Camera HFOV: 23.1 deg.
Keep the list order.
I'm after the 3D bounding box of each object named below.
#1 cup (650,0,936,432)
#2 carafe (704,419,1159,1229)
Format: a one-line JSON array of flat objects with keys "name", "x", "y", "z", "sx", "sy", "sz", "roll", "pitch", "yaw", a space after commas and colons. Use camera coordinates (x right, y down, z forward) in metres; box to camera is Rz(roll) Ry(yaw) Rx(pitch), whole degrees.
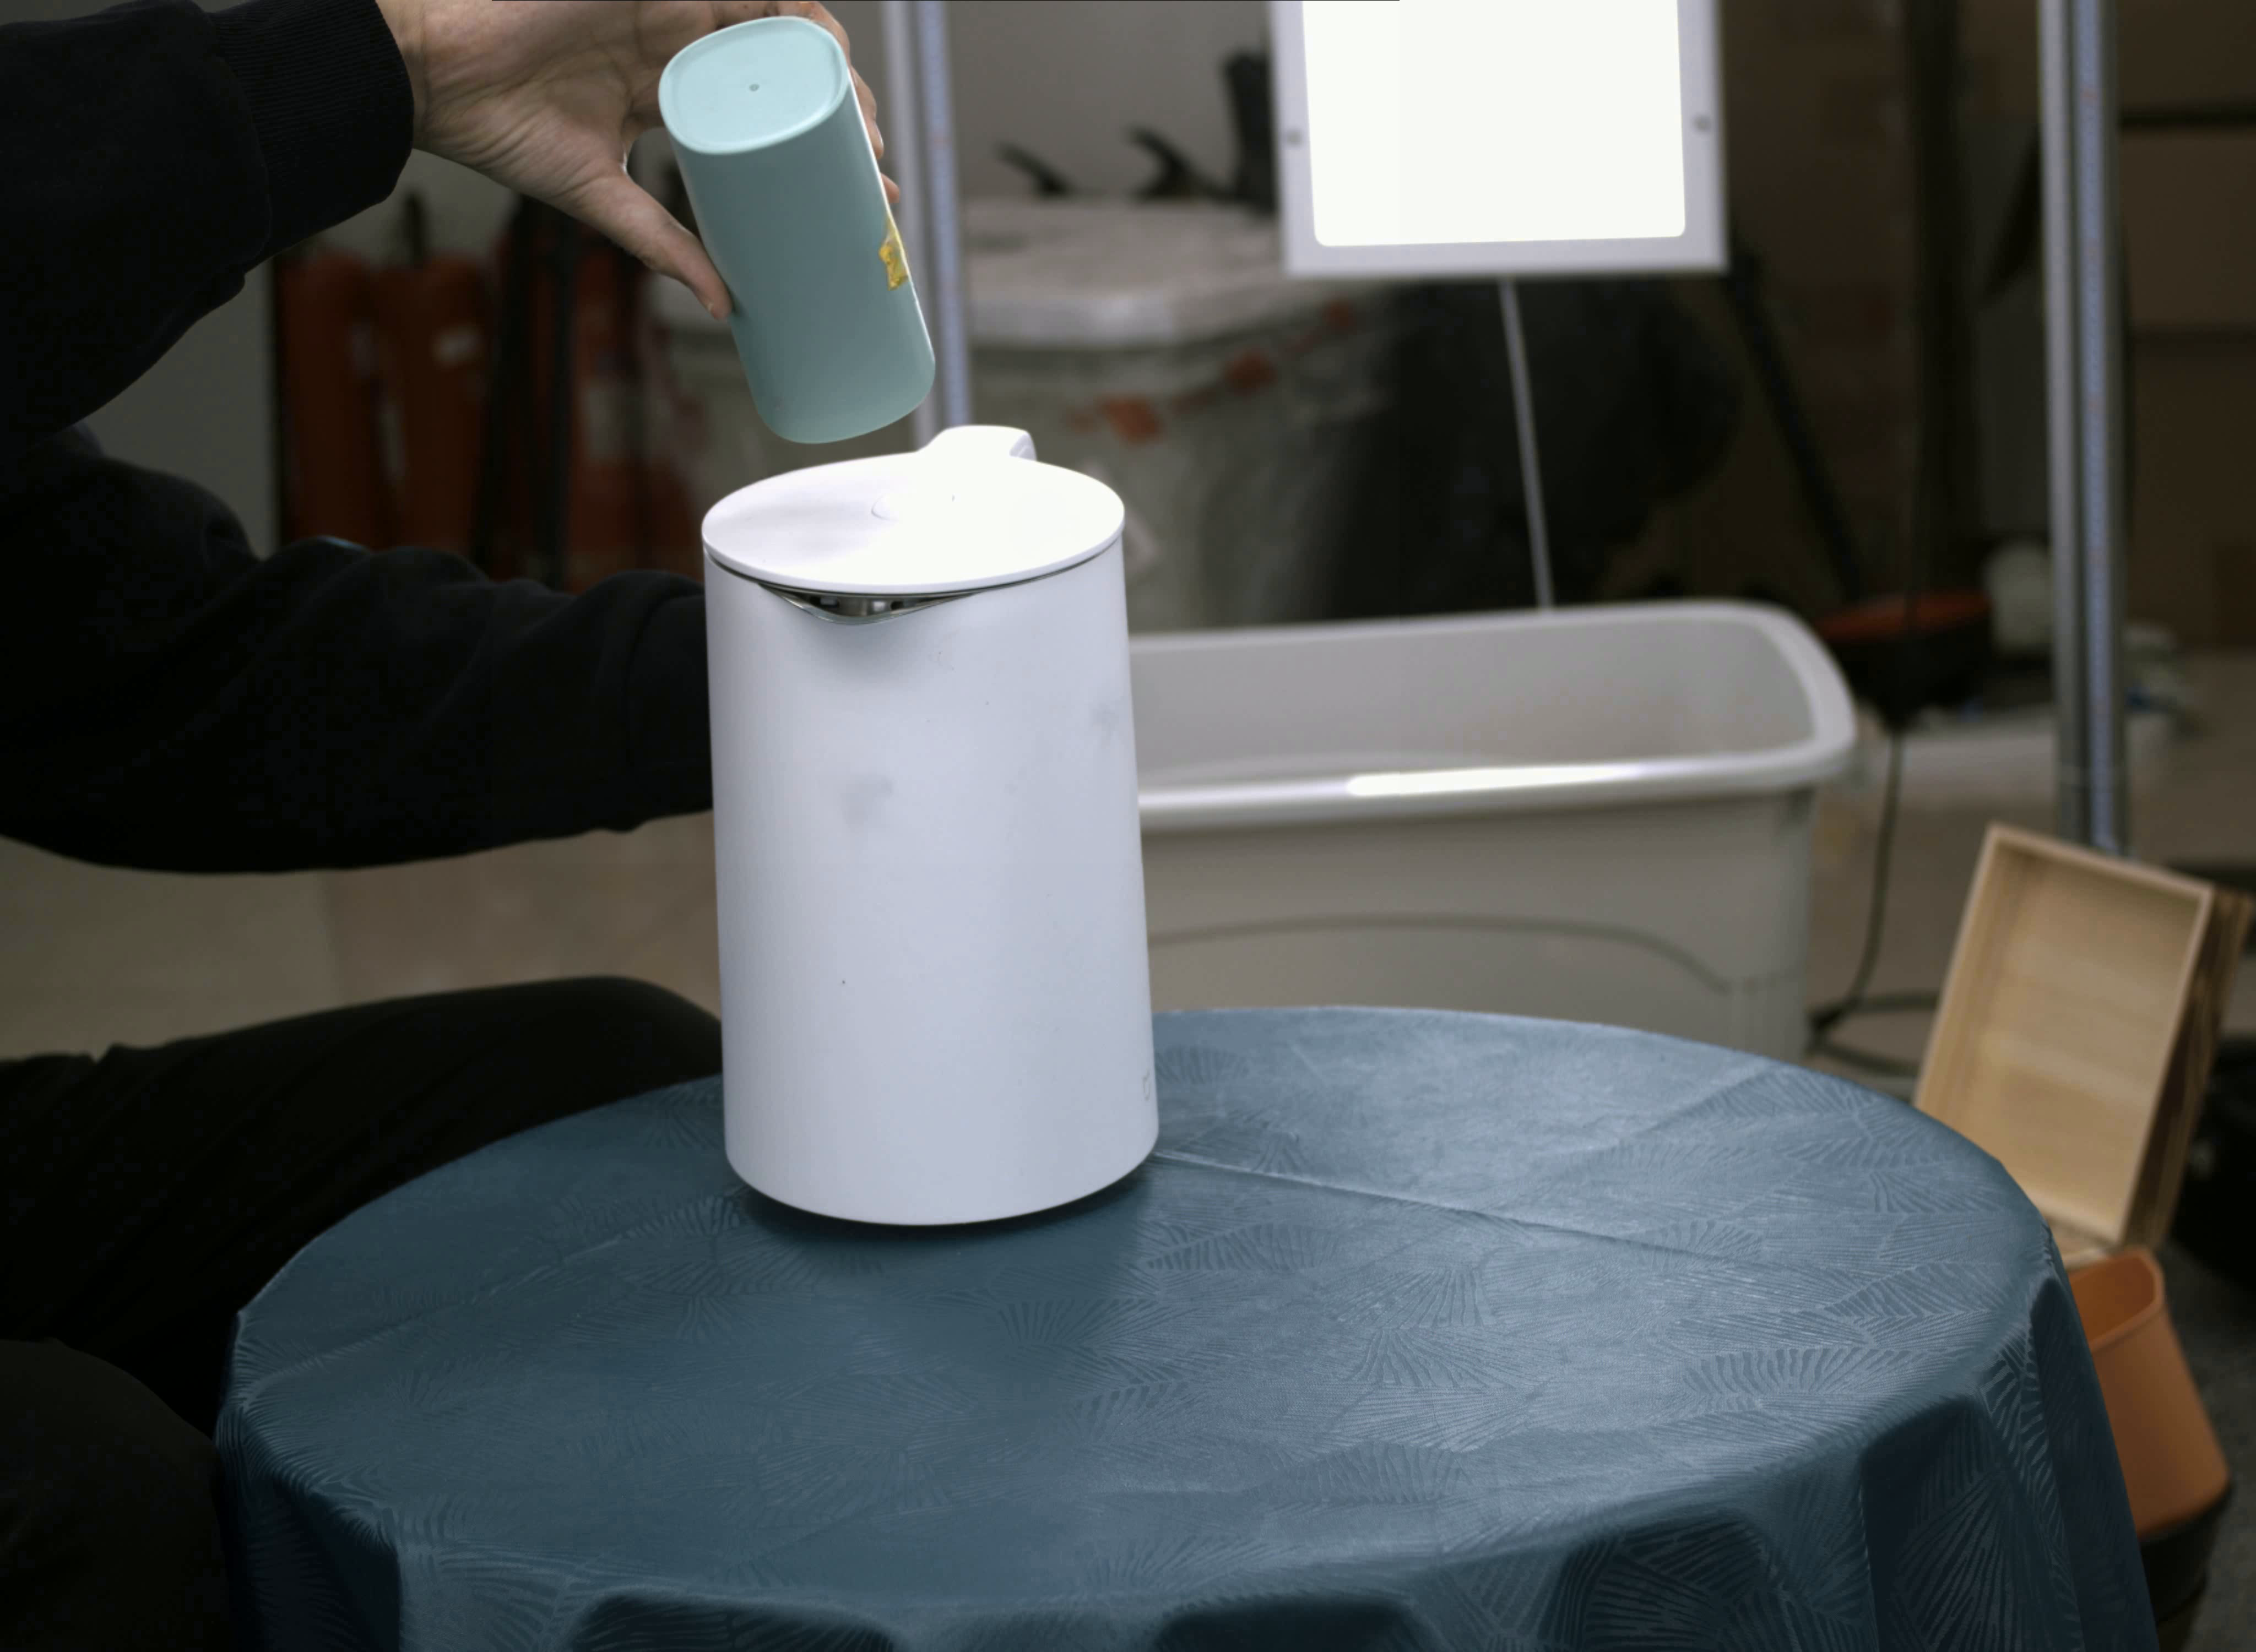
[{"name": "cup", "x": -0.108, "y": -0.195, "z": 1.773, "sx": 0.067, "sy": 0.132, "sz": 0.066, "roll": -8, "pitch": 49, "yaw": 8}, {"name": "carafe", "x": -0.061, "y": -0.007, "z": 1.911, "sx": 0.153, "sy": 0.241, "sz": 0.210, "roll": 4, "pitch": 23, "yaw": 13}]
